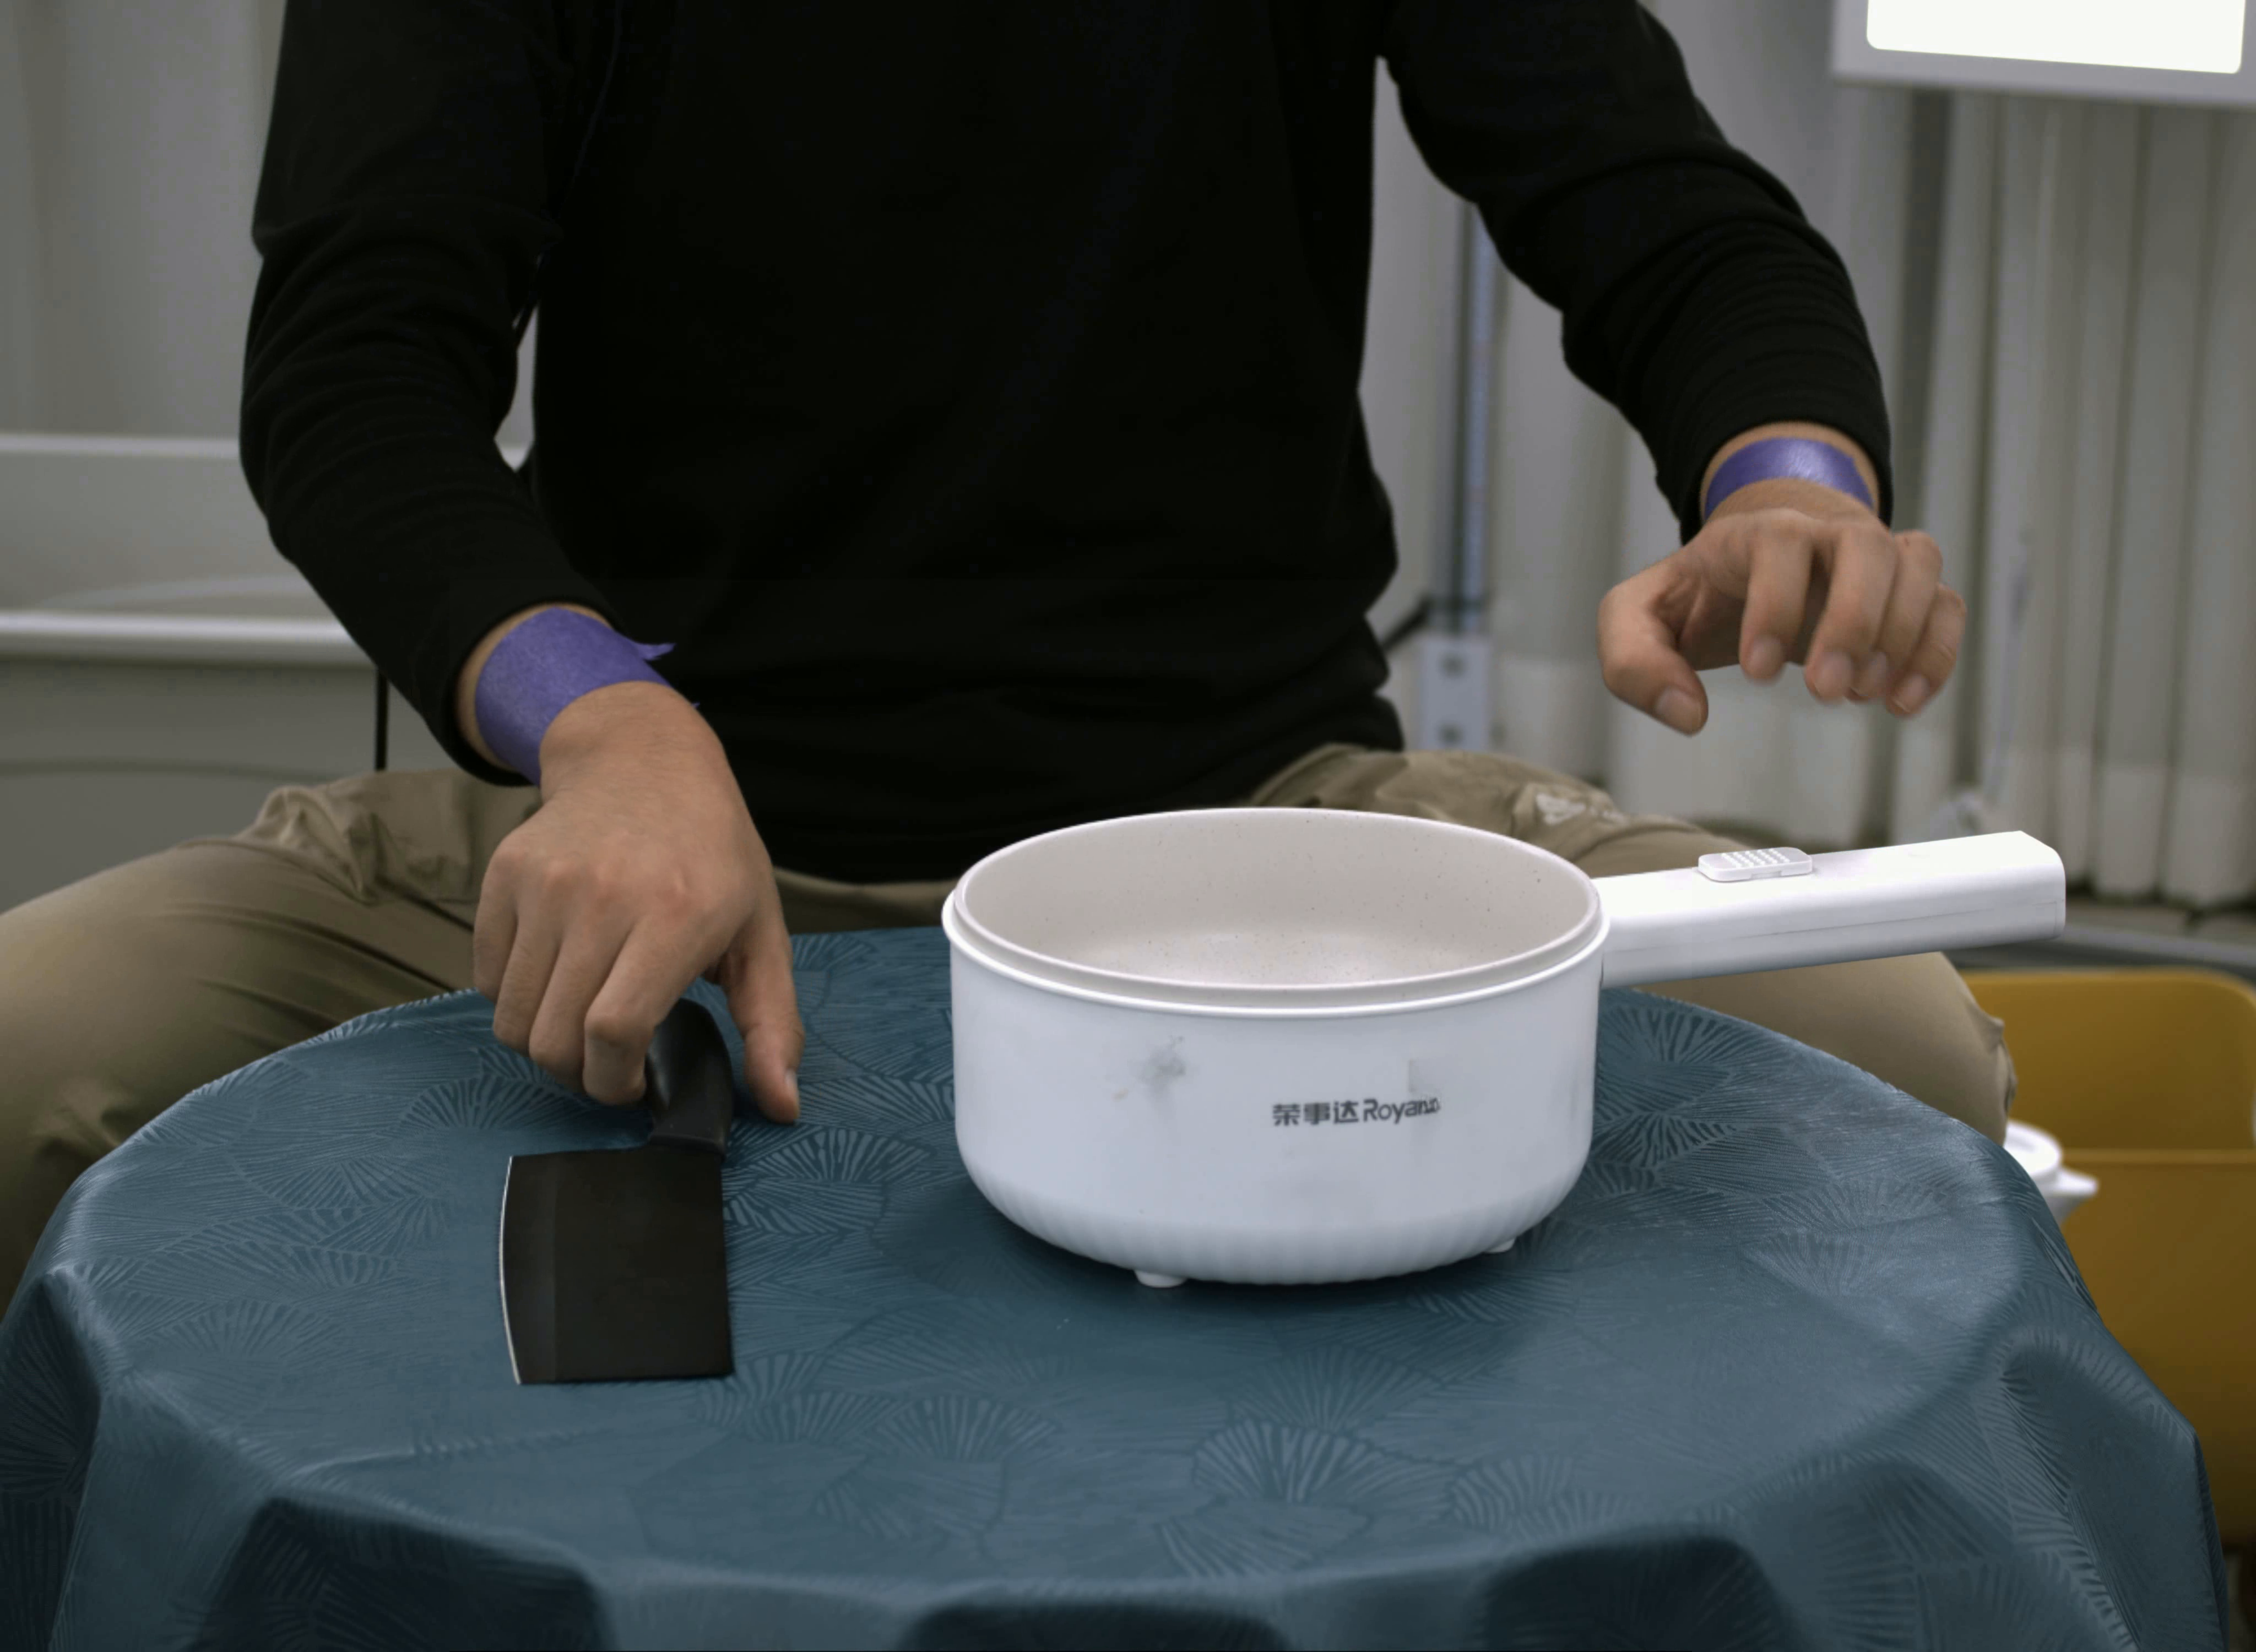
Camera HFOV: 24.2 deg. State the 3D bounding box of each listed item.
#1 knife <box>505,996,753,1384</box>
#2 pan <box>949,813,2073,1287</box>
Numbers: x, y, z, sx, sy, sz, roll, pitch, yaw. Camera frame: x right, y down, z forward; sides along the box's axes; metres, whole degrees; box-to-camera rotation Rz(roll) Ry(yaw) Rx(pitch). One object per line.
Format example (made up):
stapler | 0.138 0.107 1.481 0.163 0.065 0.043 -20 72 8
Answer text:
knife | -0.150 0.109 1.604 0.080 0.021 0.300 -1 18 0
pan | 0.119 0.065 1.617 0.355 0.103 0.199 -3 15 -17
